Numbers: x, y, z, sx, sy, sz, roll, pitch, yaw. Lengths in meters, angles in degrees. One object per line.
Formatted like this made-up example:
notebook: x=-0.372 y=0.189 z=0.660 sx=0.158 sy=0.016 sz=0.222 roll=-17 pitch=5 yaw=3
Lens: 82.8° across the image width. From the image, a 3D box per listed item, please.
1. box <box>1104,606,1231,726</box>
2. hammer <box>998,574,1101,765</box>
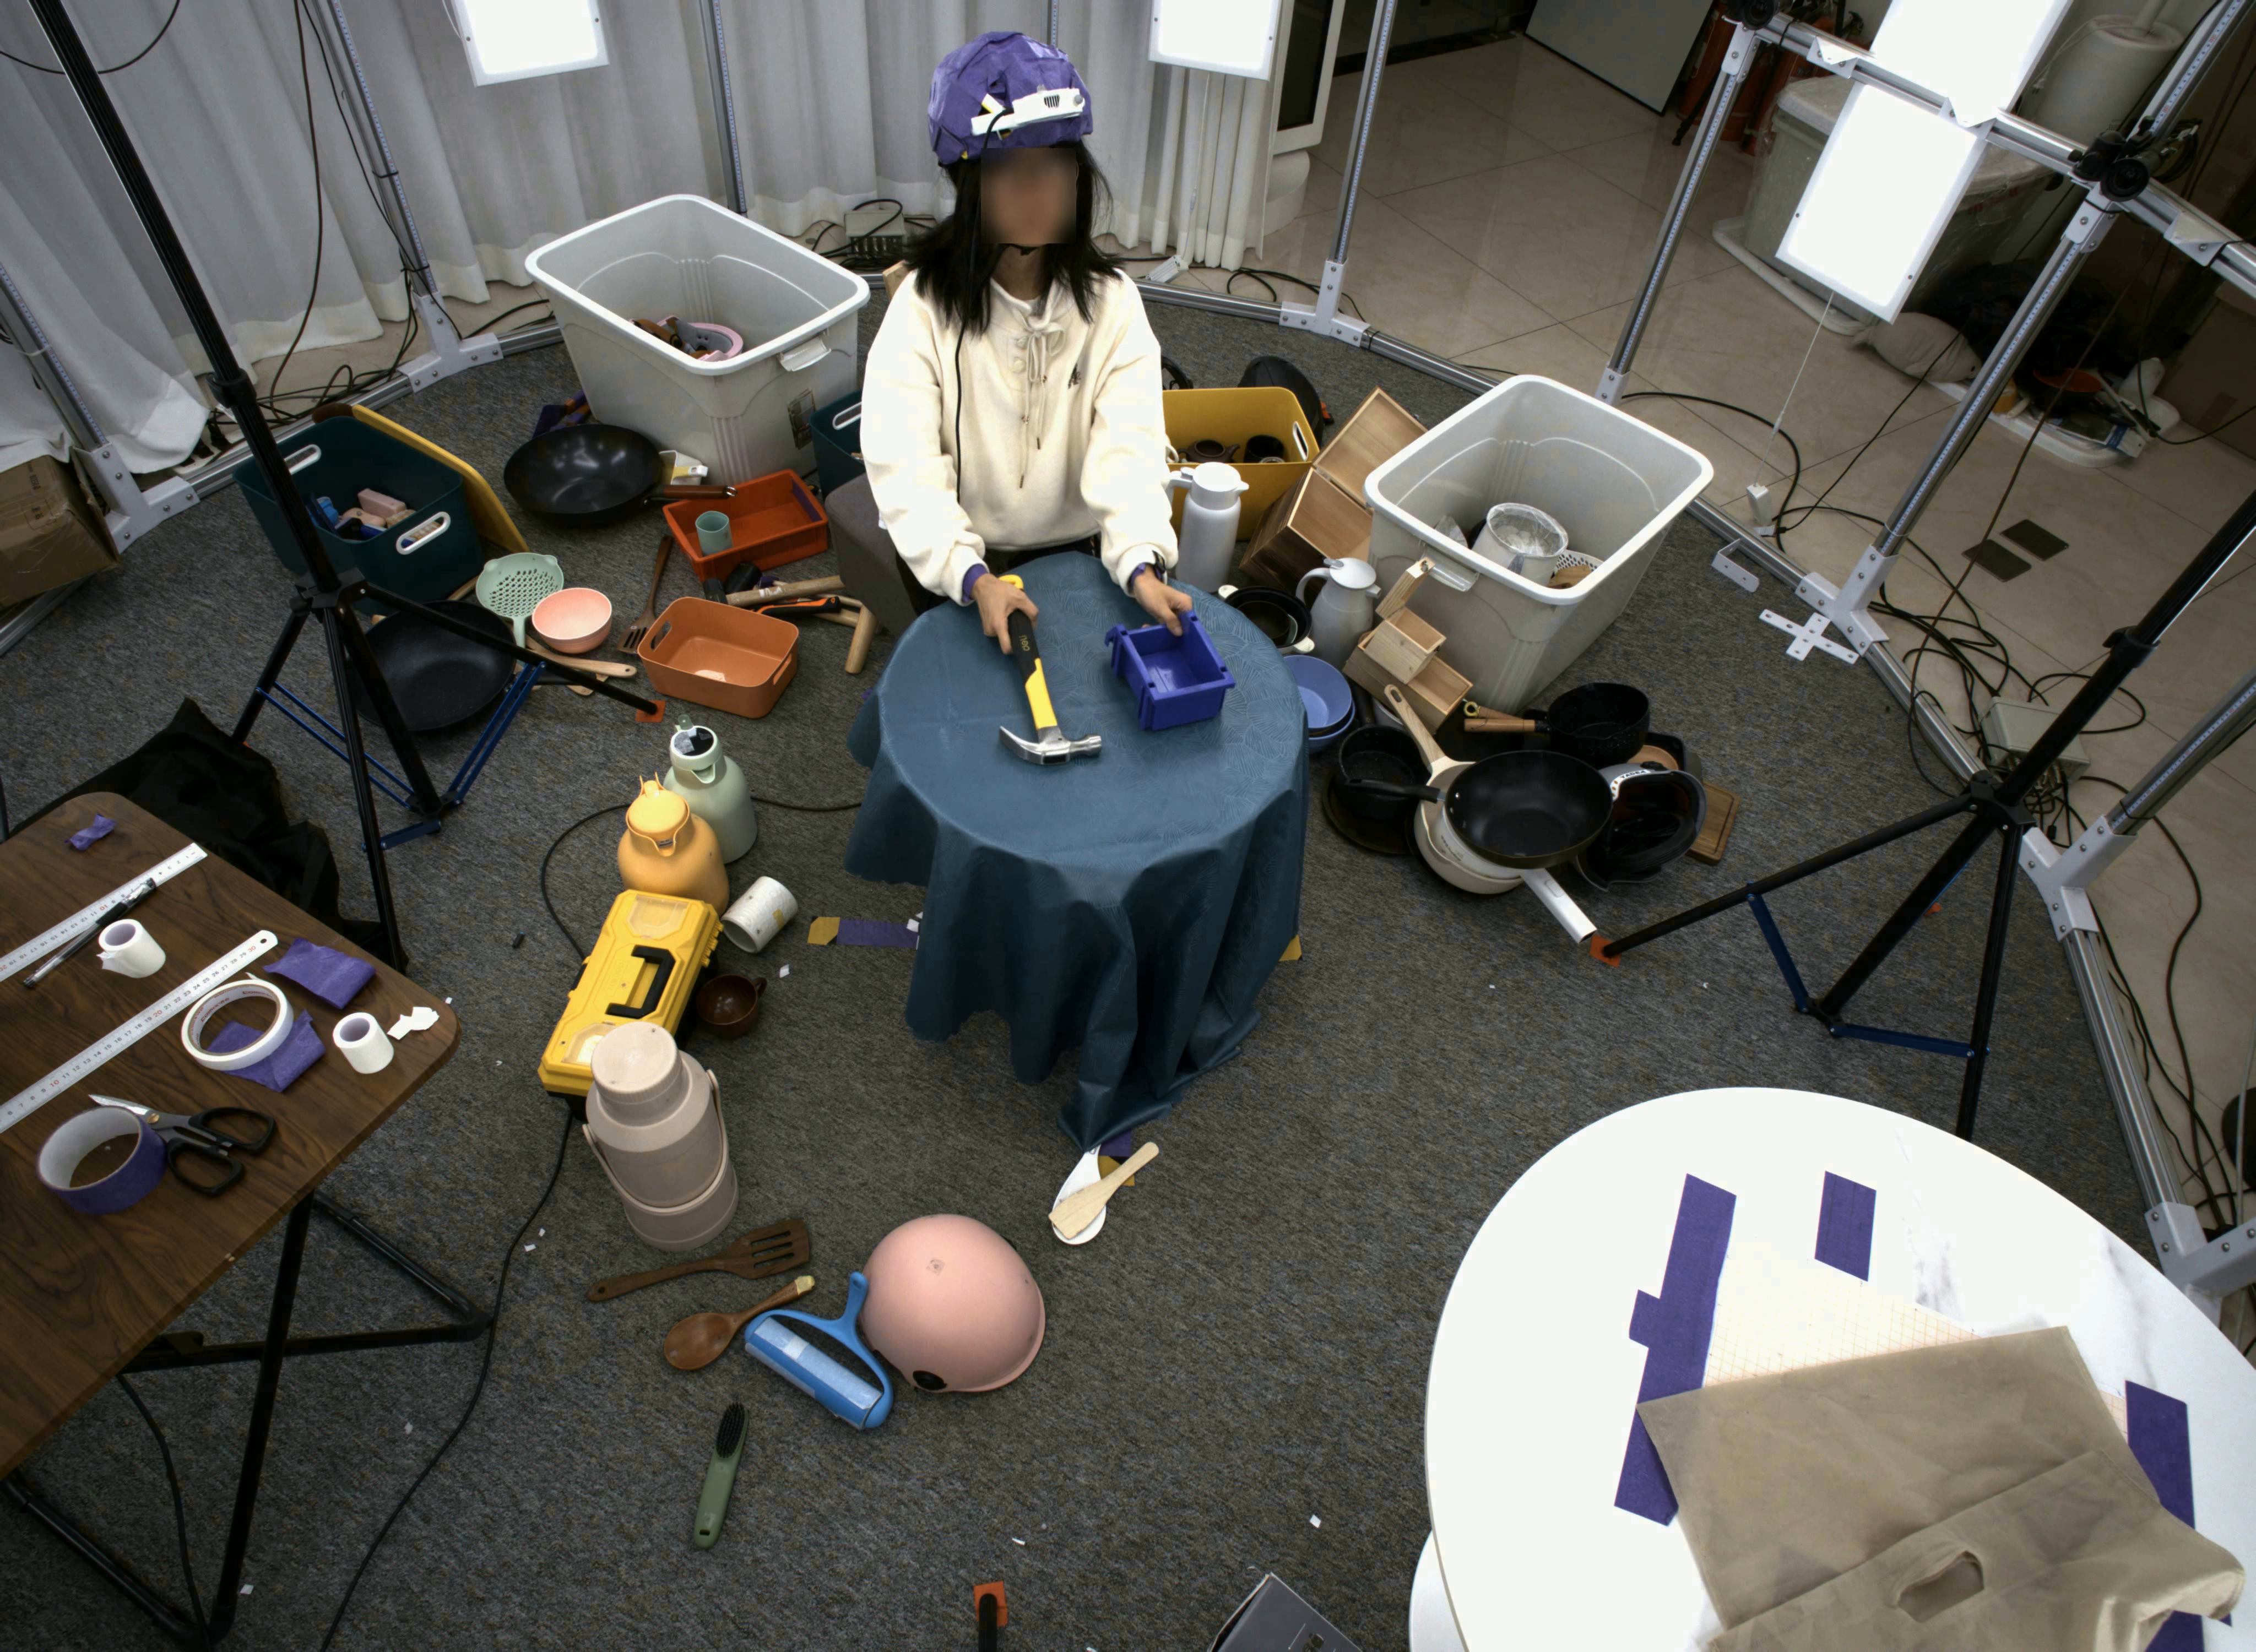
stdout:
box: x=0.050 y=-0.233 z=1.817 sx=0.124 sy=0.080 sz=0.183 roll=-13 pitch=56 yaw=-16
hammer: x=-0.136 y=-0.229 z=1.818 sx=0.131 sy=0.031 sz=0.346 roll=-9 pitch=56 yaw=-9
